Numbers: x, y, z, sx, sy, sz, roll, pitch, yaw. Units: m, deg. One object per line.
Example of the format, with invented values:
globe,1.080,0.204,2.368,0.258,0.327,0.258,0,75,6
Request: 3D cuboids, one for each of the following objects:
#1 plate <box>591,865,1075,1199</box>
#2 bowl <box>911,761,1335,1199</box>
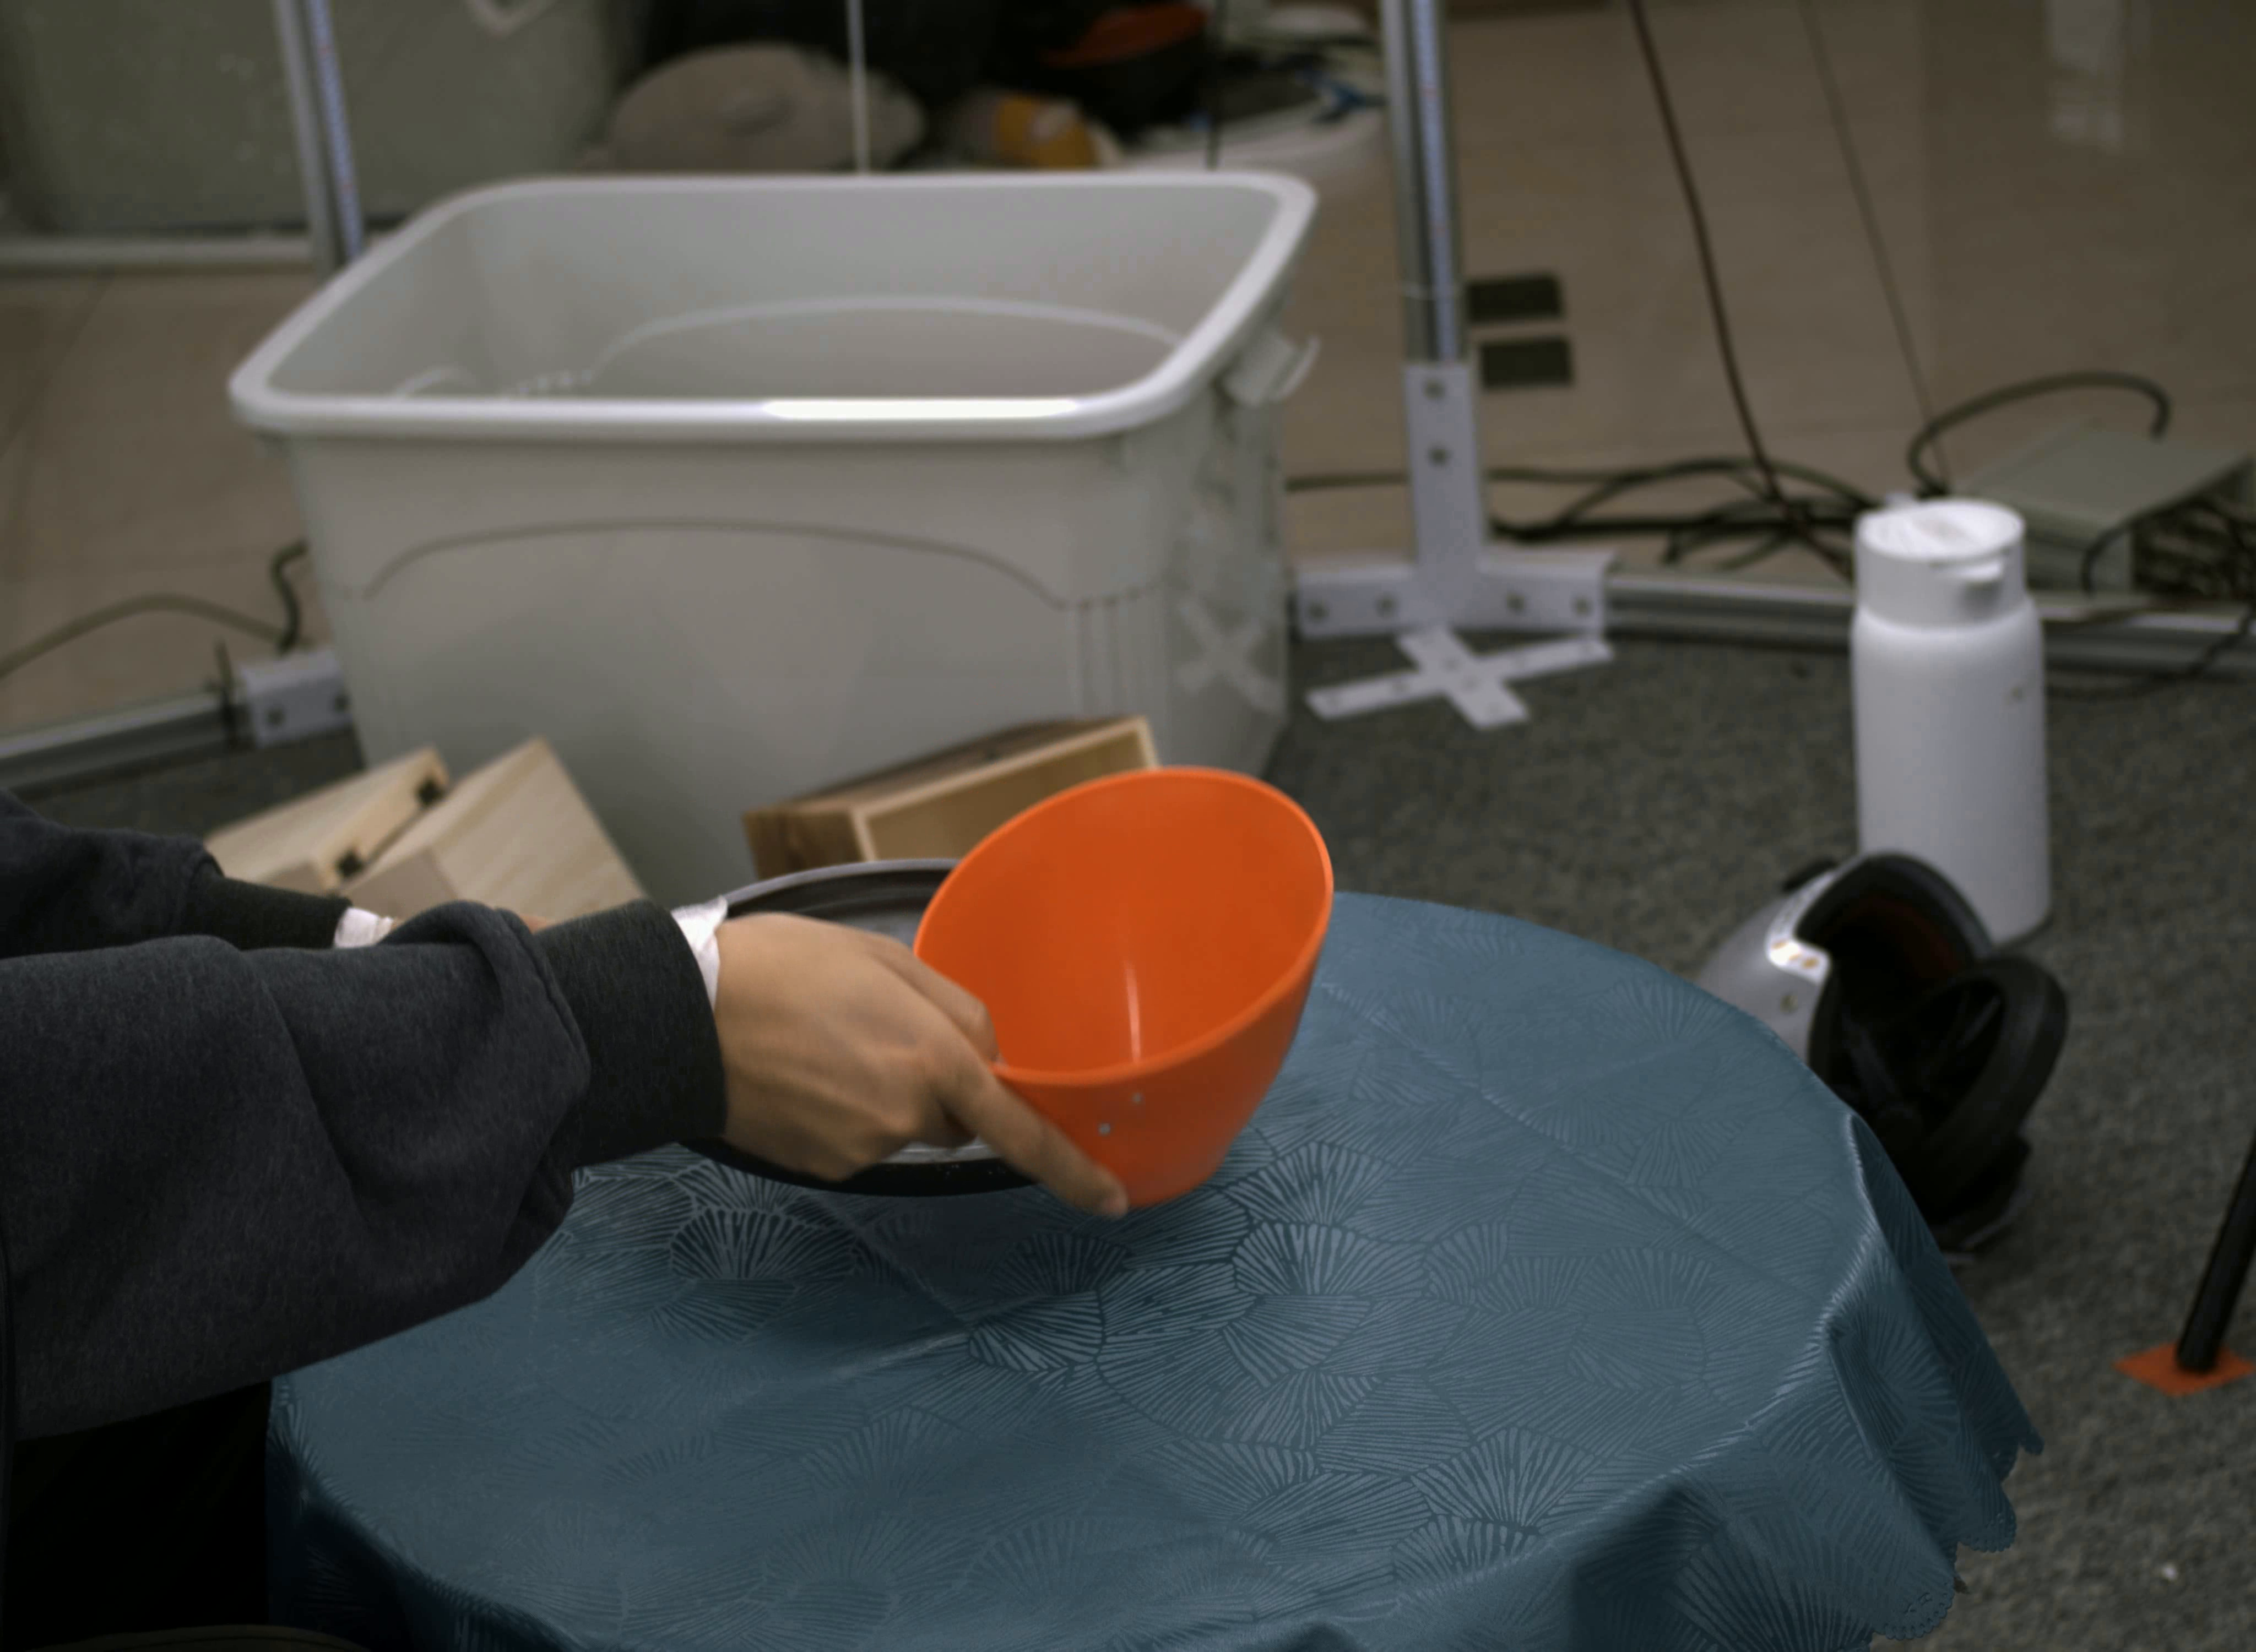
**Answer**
plate,-0.078,0.076,2.162,0.254,0.029,0.251,0,27,0
bowl,0.004,0.061,1.935,0.148,0.106,0.145,-7,35,5
